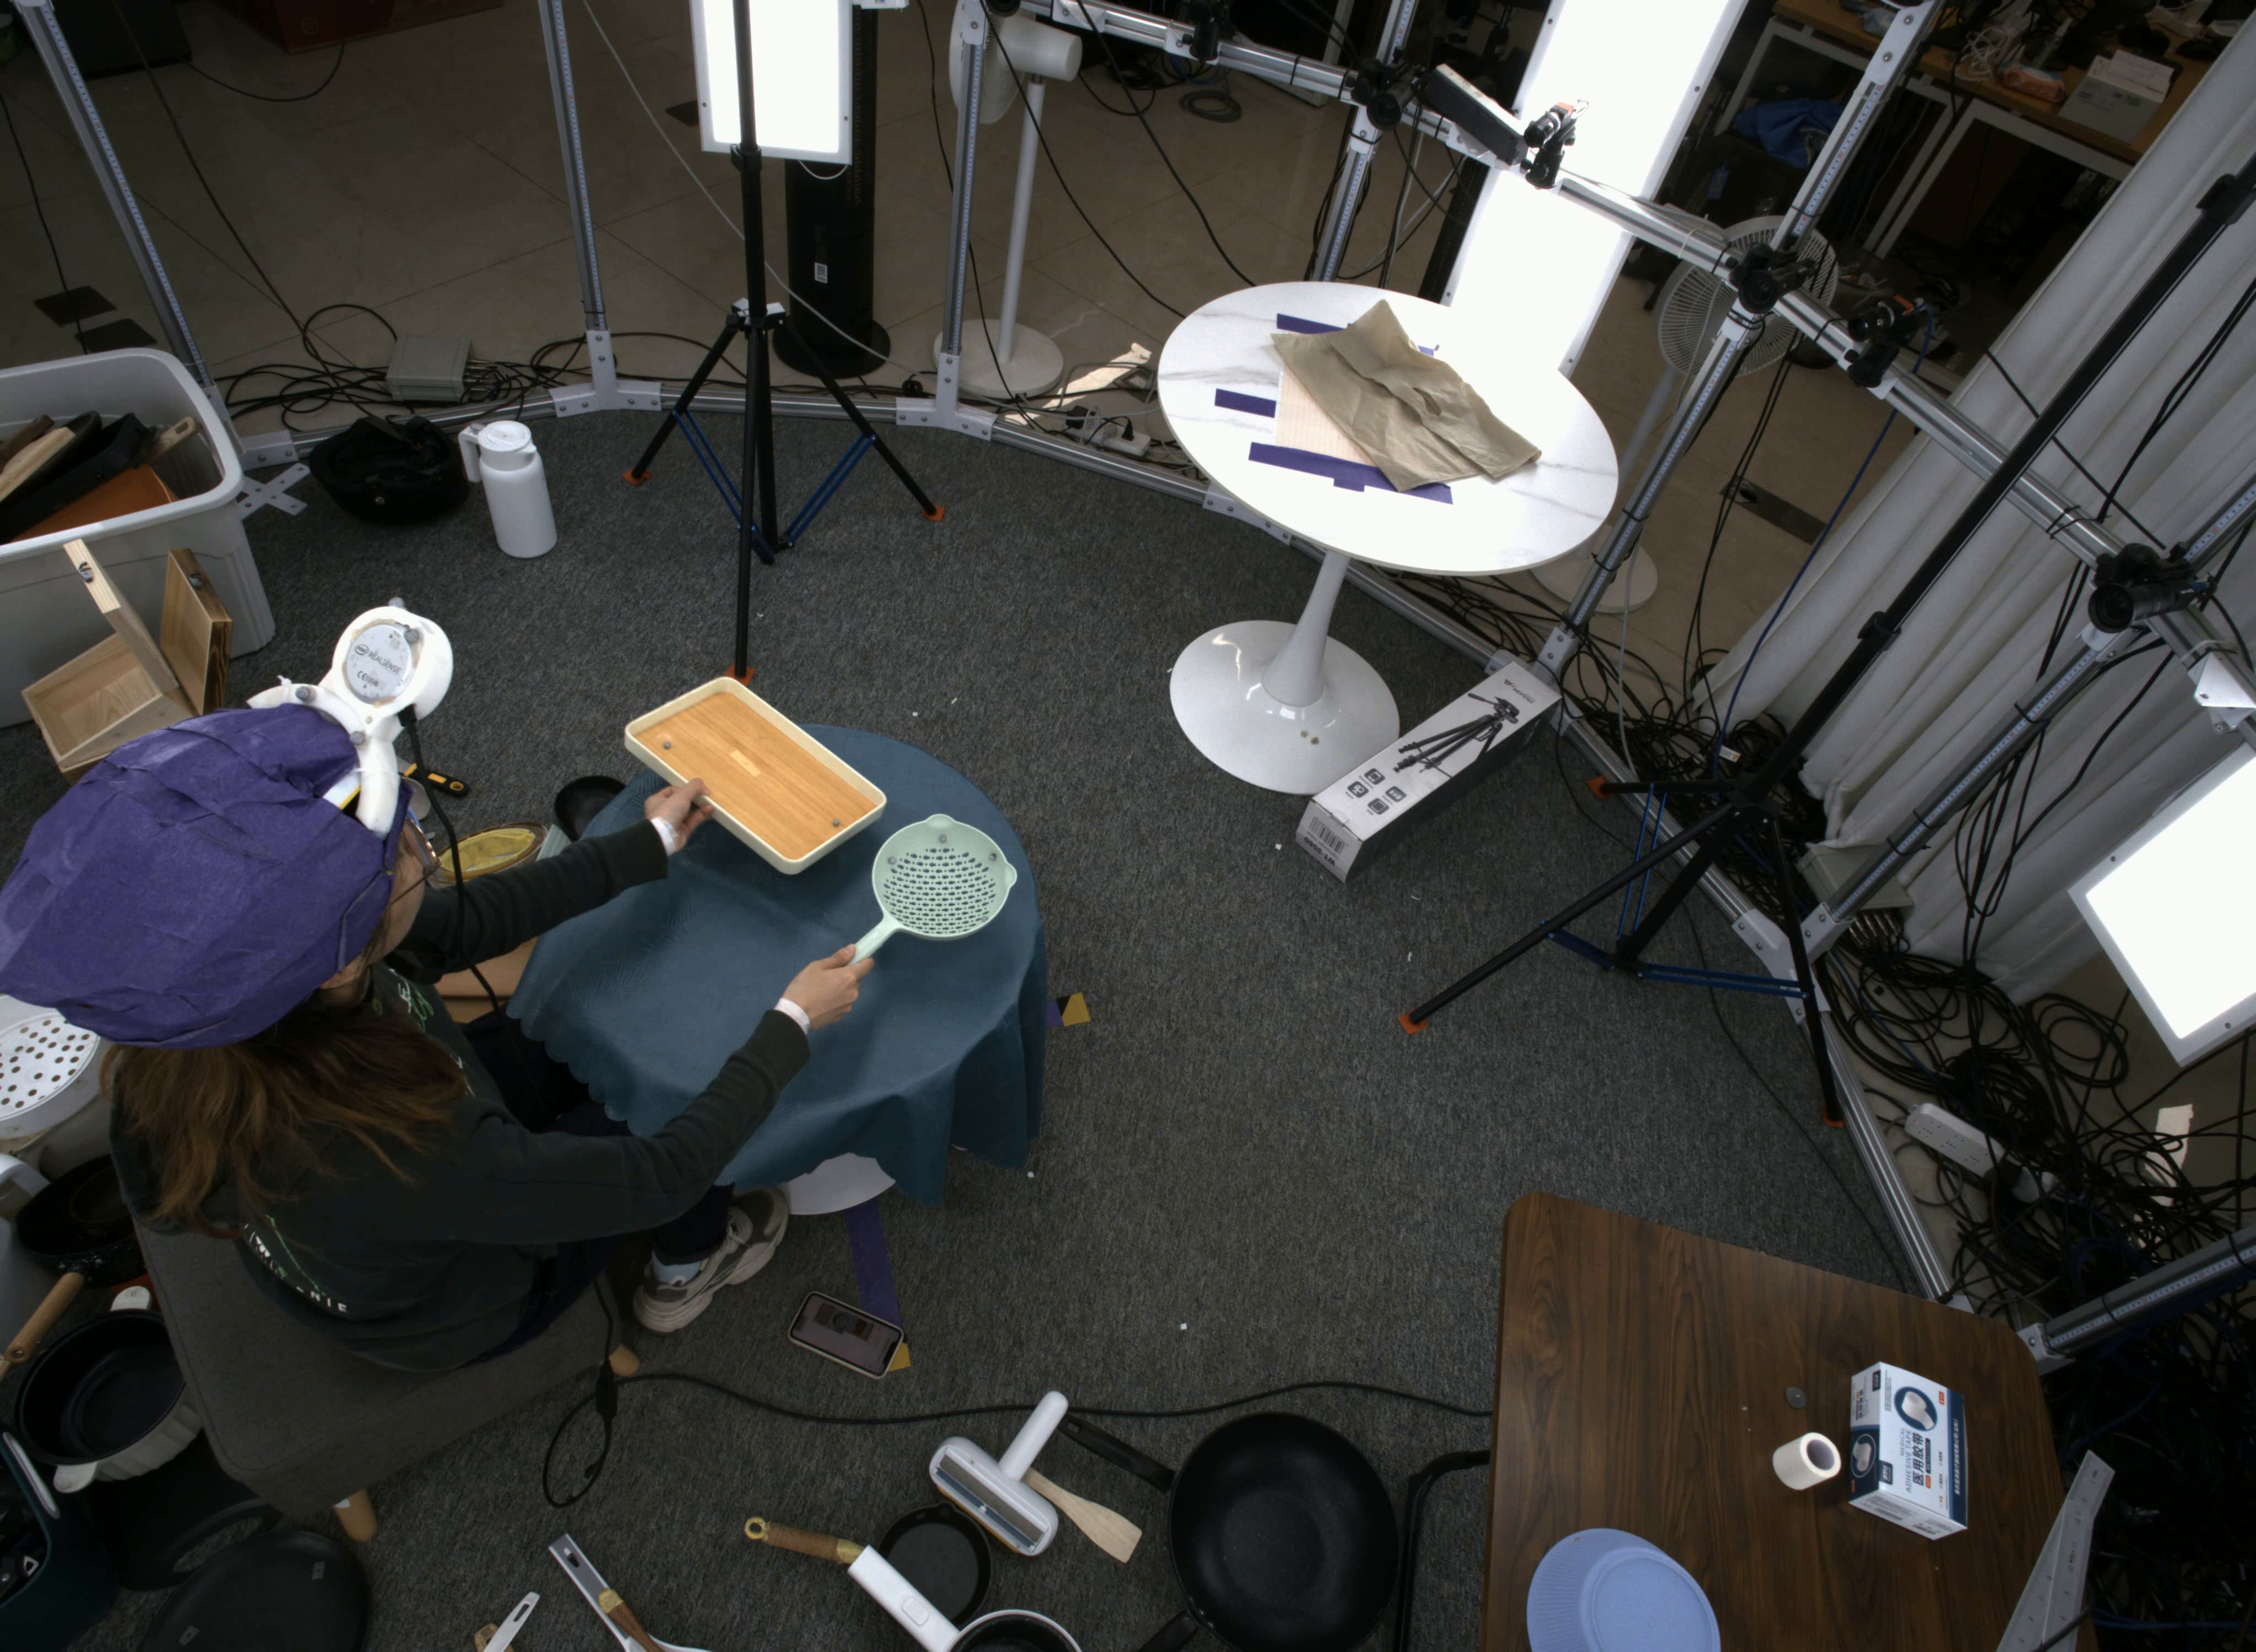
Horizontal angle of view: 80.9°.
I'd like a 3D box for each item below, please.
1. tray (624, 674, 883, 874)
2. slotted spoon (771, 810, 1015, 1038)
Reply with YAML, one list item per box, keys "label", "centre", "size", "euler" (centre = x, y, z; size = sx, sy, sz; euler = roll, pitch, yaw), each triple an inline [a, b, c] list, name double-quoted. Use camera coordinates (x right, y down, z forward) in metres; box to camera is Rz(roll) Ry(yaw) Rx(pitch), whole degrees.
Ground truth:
- label: "tray"
  centre: [-0.483, -0.073, 1.664]
  size: [0.296, 0.028, 0.191]
  euler: [37, 42, 9]
- label: "slotted spoon"
  centre: [-0.291, 0.122, 1.559]
  size: [0.166, 0.076, 0.359]
  euler: [37, 48, 12]
